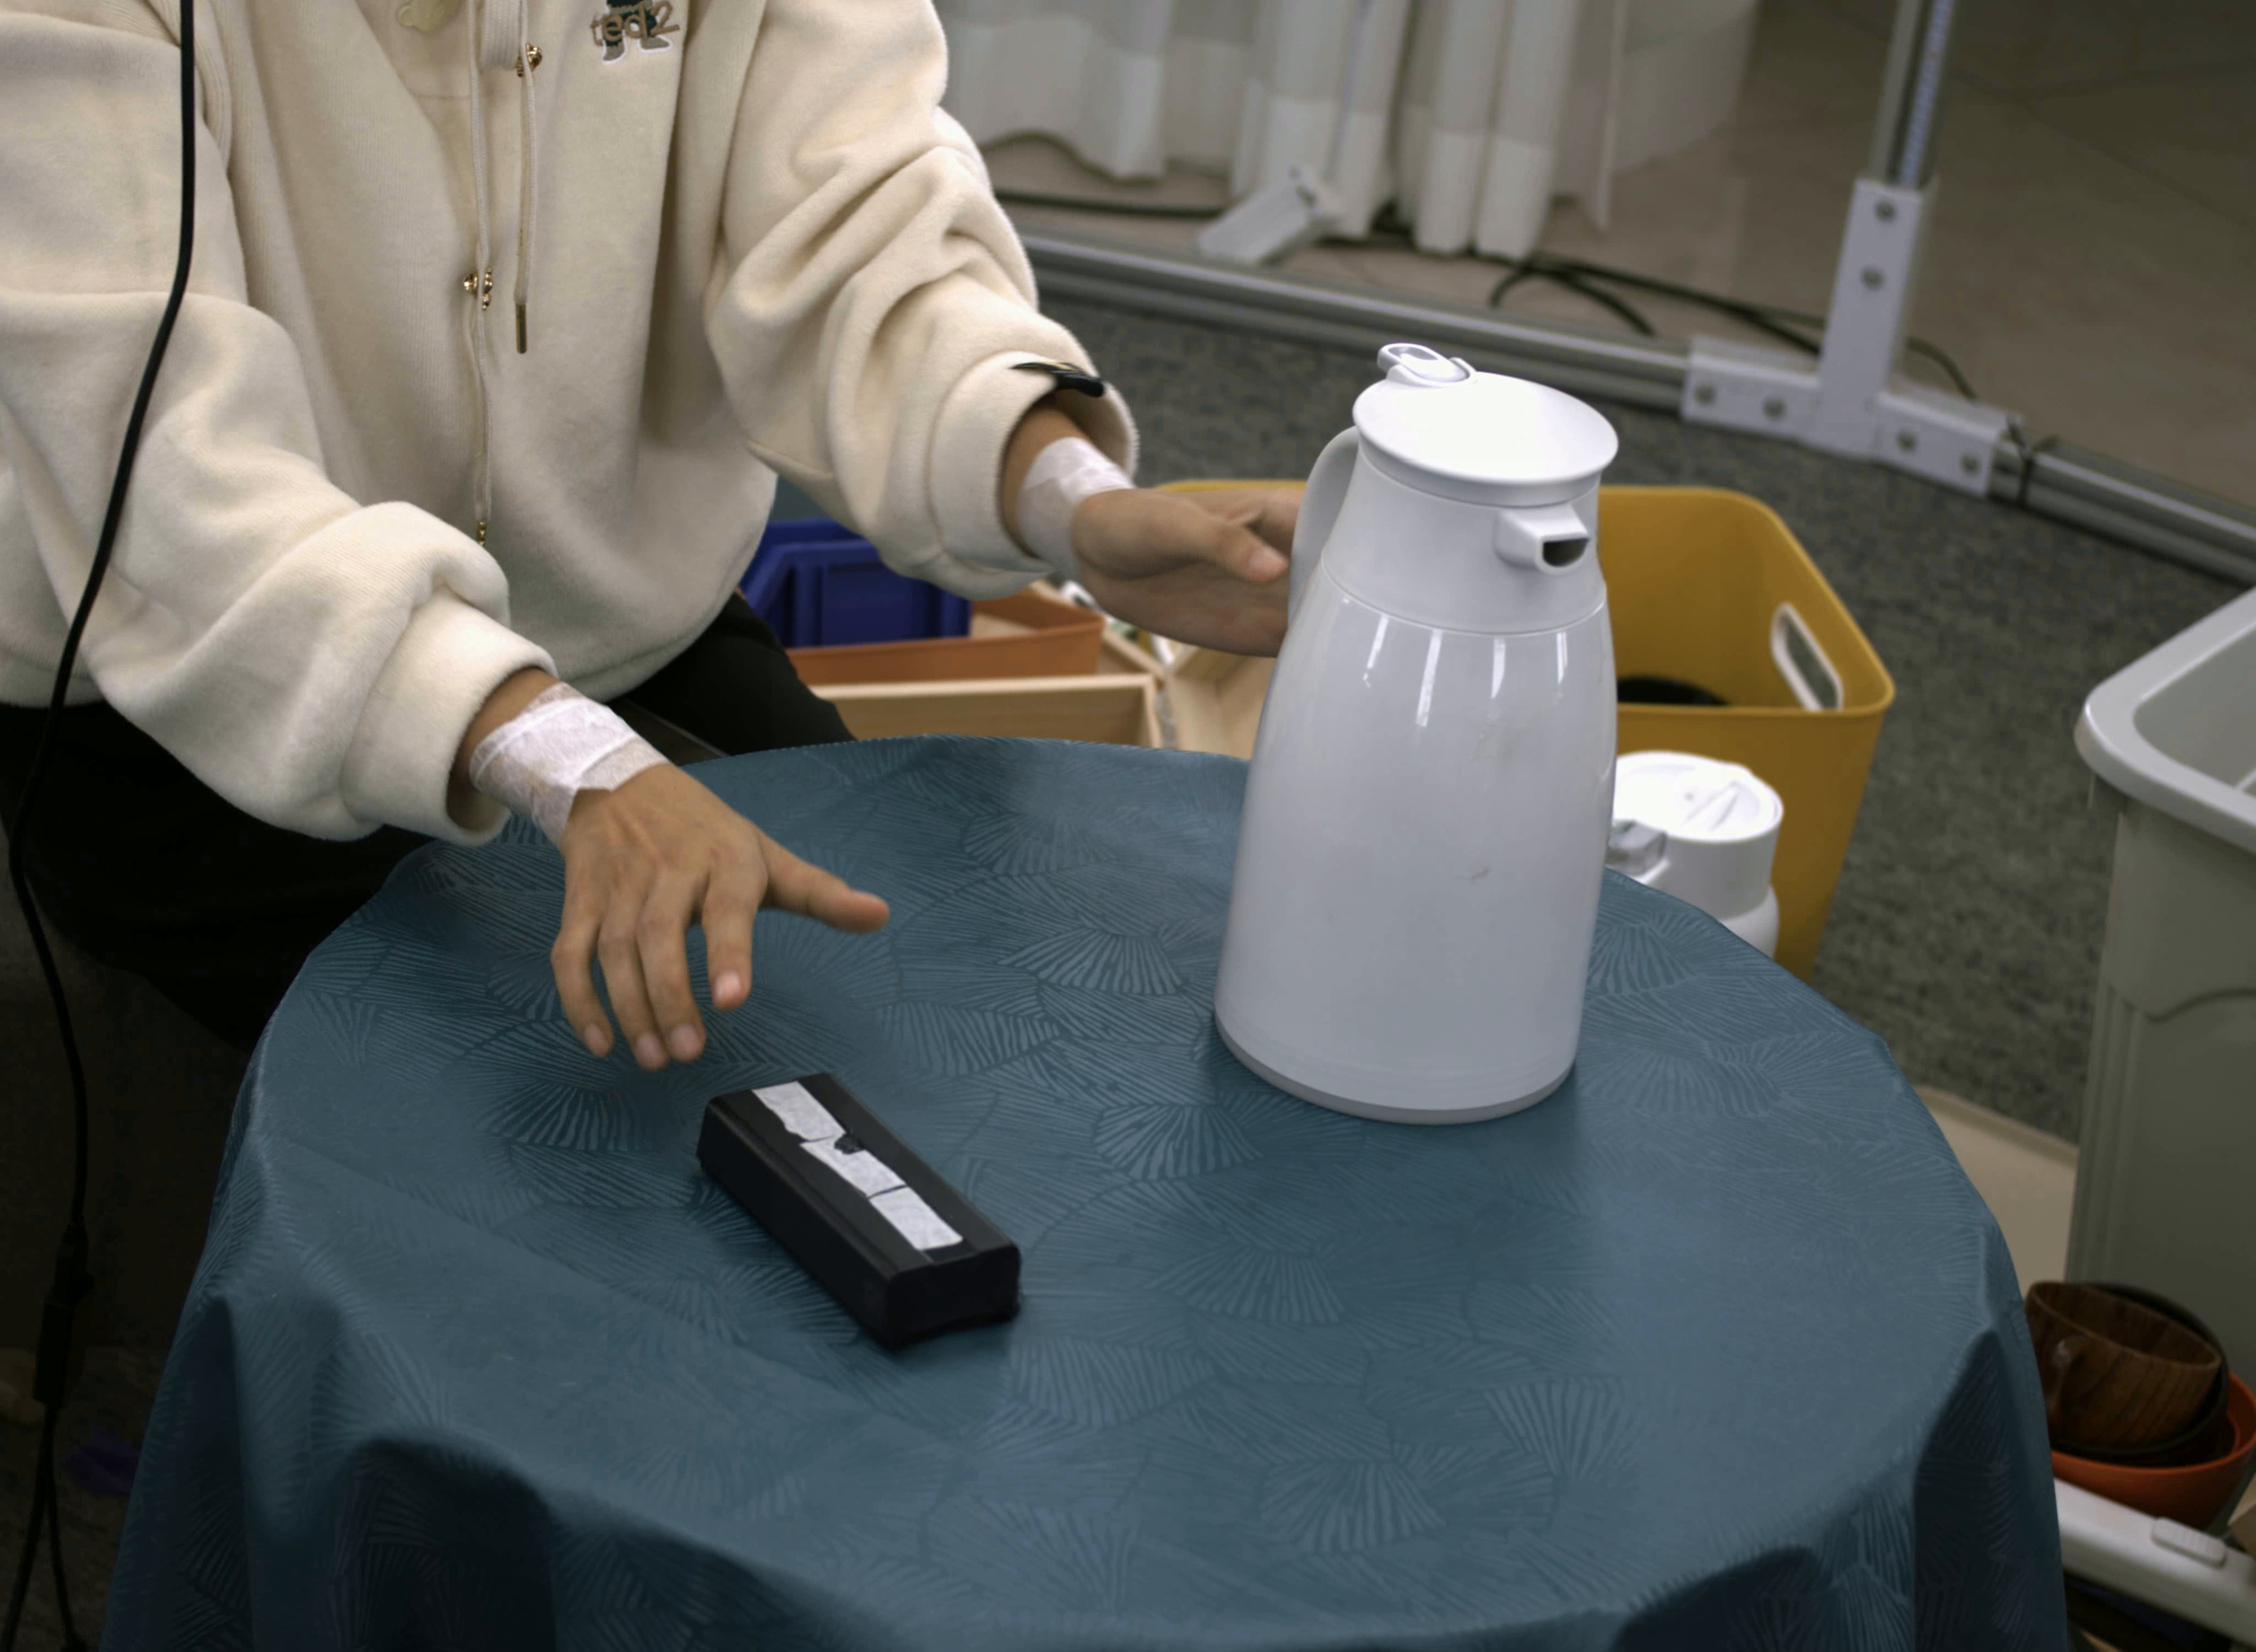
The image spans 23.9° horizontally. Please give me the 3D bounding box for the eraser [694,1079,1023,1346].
[{"bbox_3d":[-0.089,0.126,1.746,0.053,0.030,0.126,-9,31,-34],"label":"eraser"}]

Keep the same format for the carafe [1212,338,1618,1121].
[{"bbox_3d":[0.100,-0.044,1.879,0.131,0.248,0.169,-7,29,-25],"label":"carafe"}]
